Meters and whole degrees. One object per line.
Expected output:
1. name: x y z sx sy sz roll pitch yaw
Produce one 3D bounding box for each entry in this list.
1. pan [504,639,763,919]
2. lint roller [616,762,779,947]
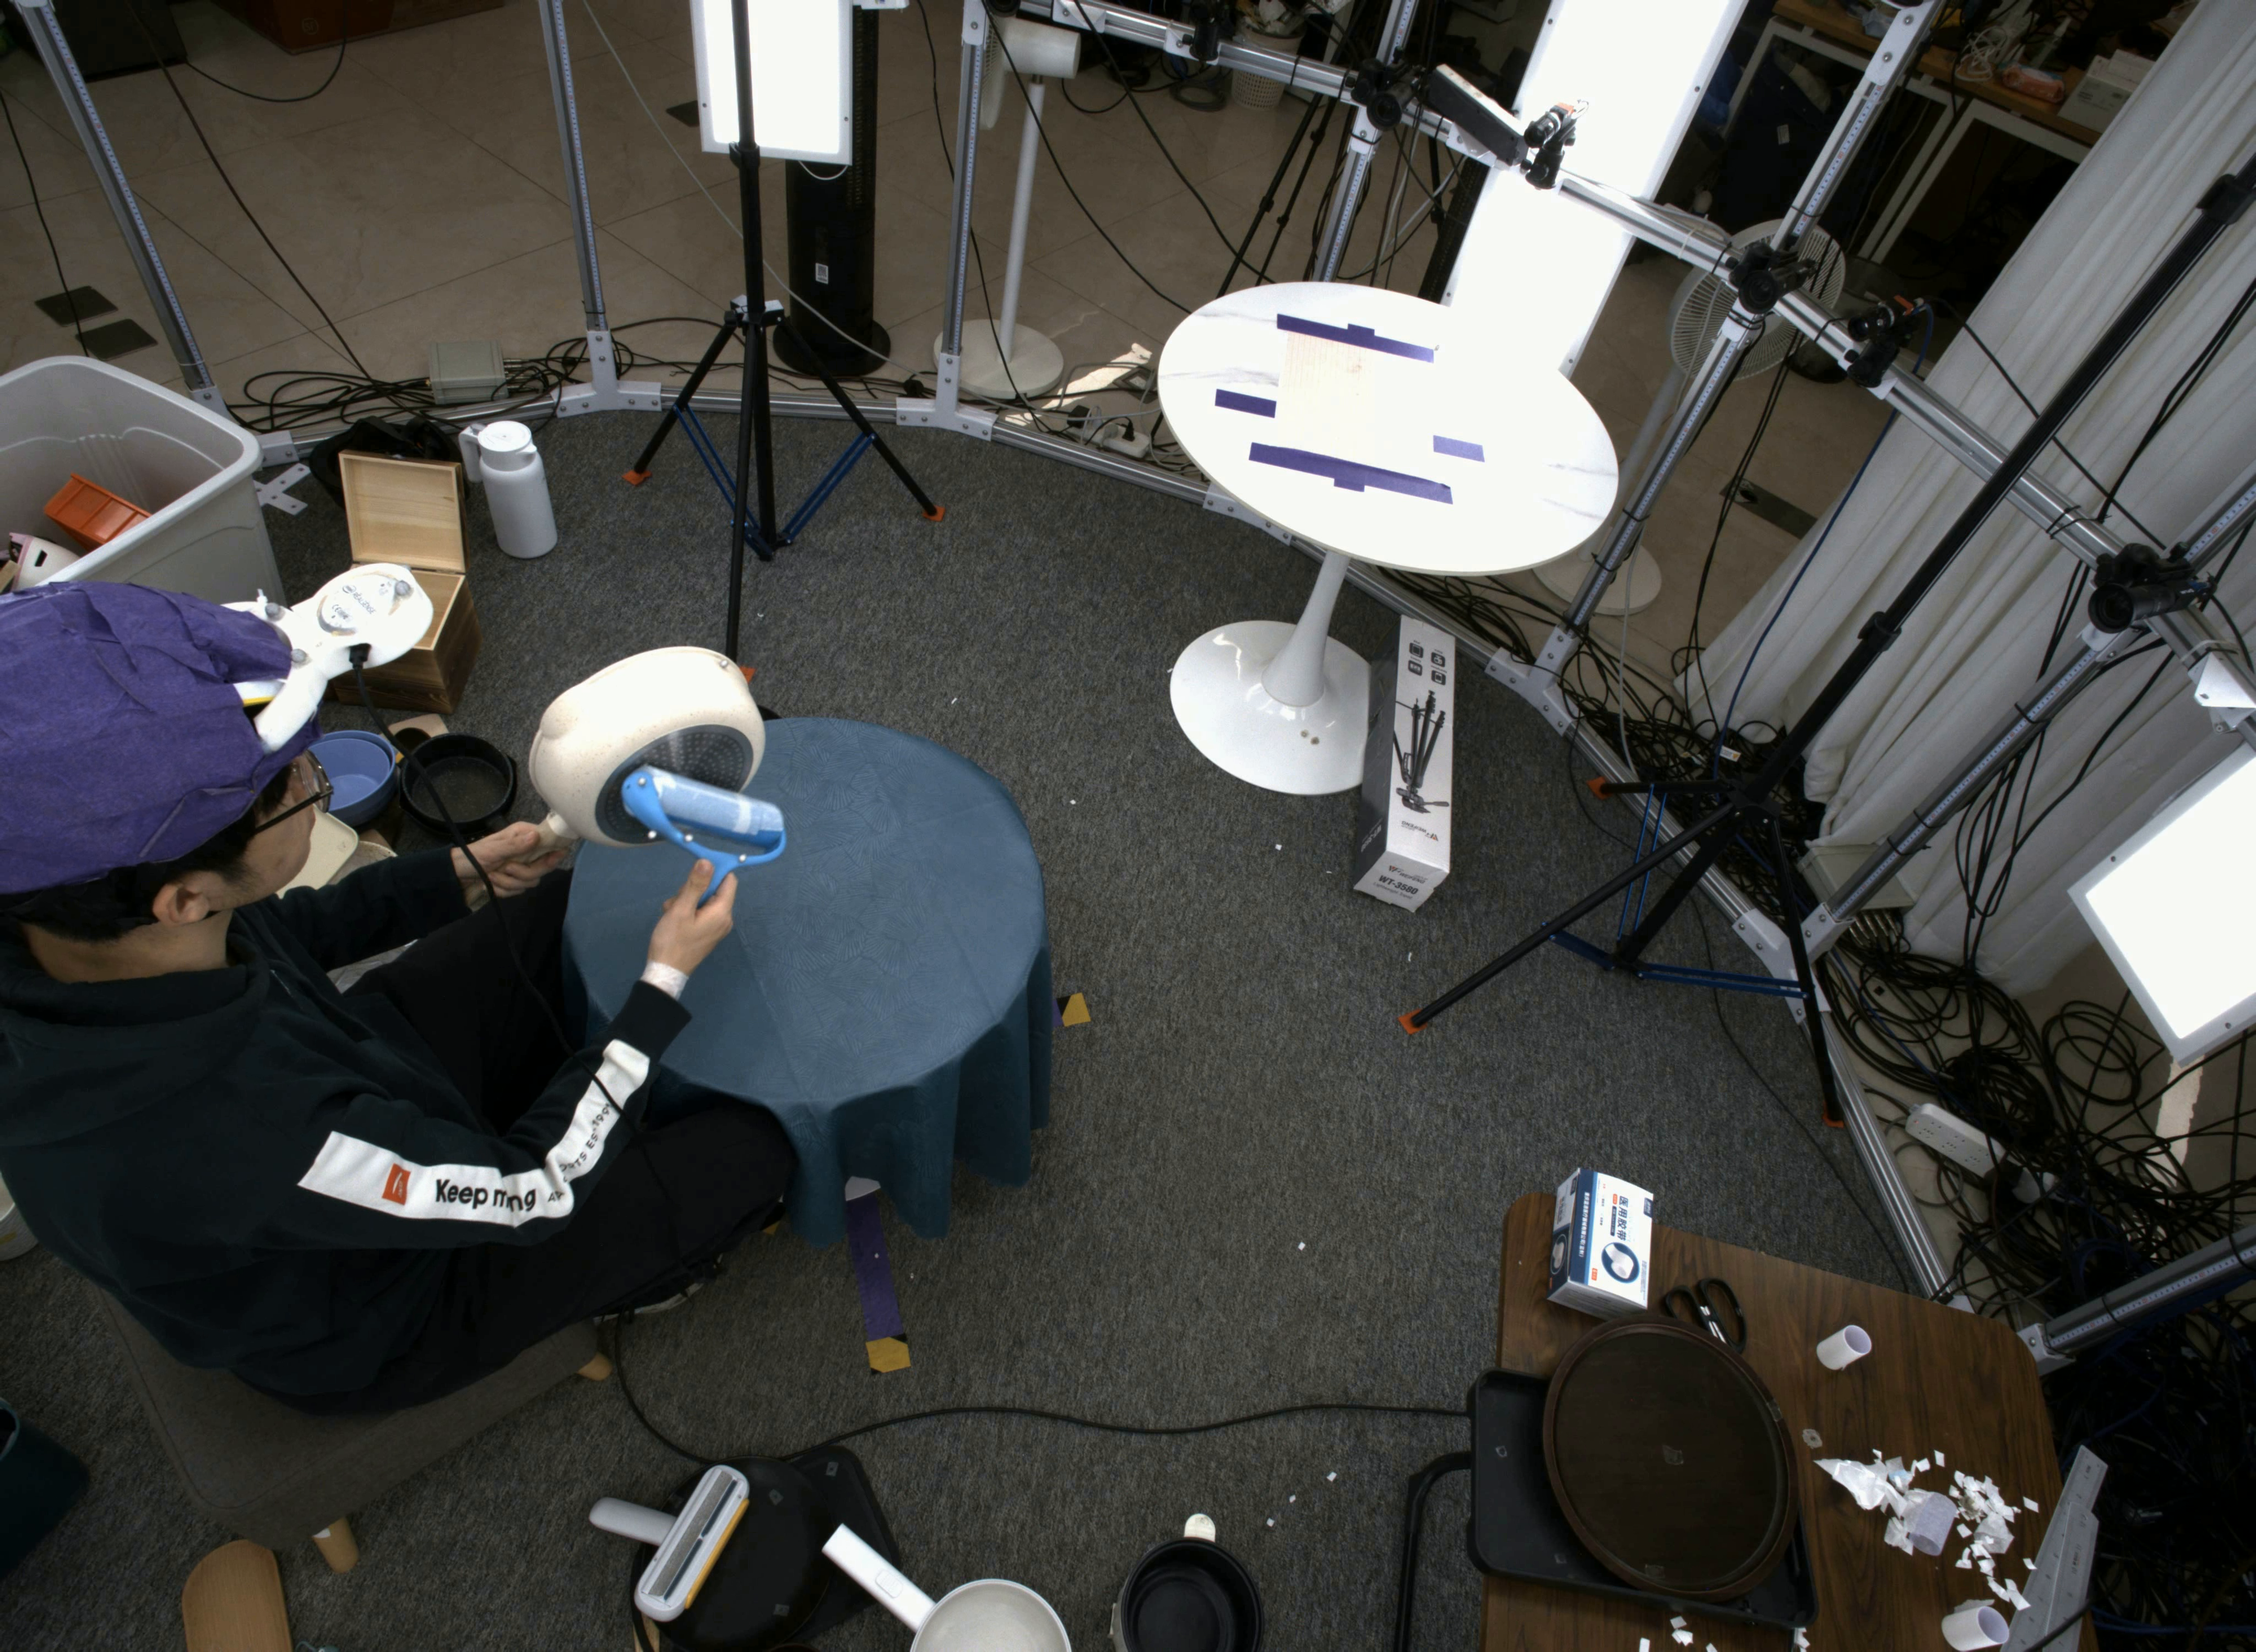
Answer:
1. pan: -0.577 -0.021 1.395 0.434 0.269 0.100 -43 70 8
2. lint roller: -0.462 0.037 1.371 0.066 0.234 0.181 3 84 23
